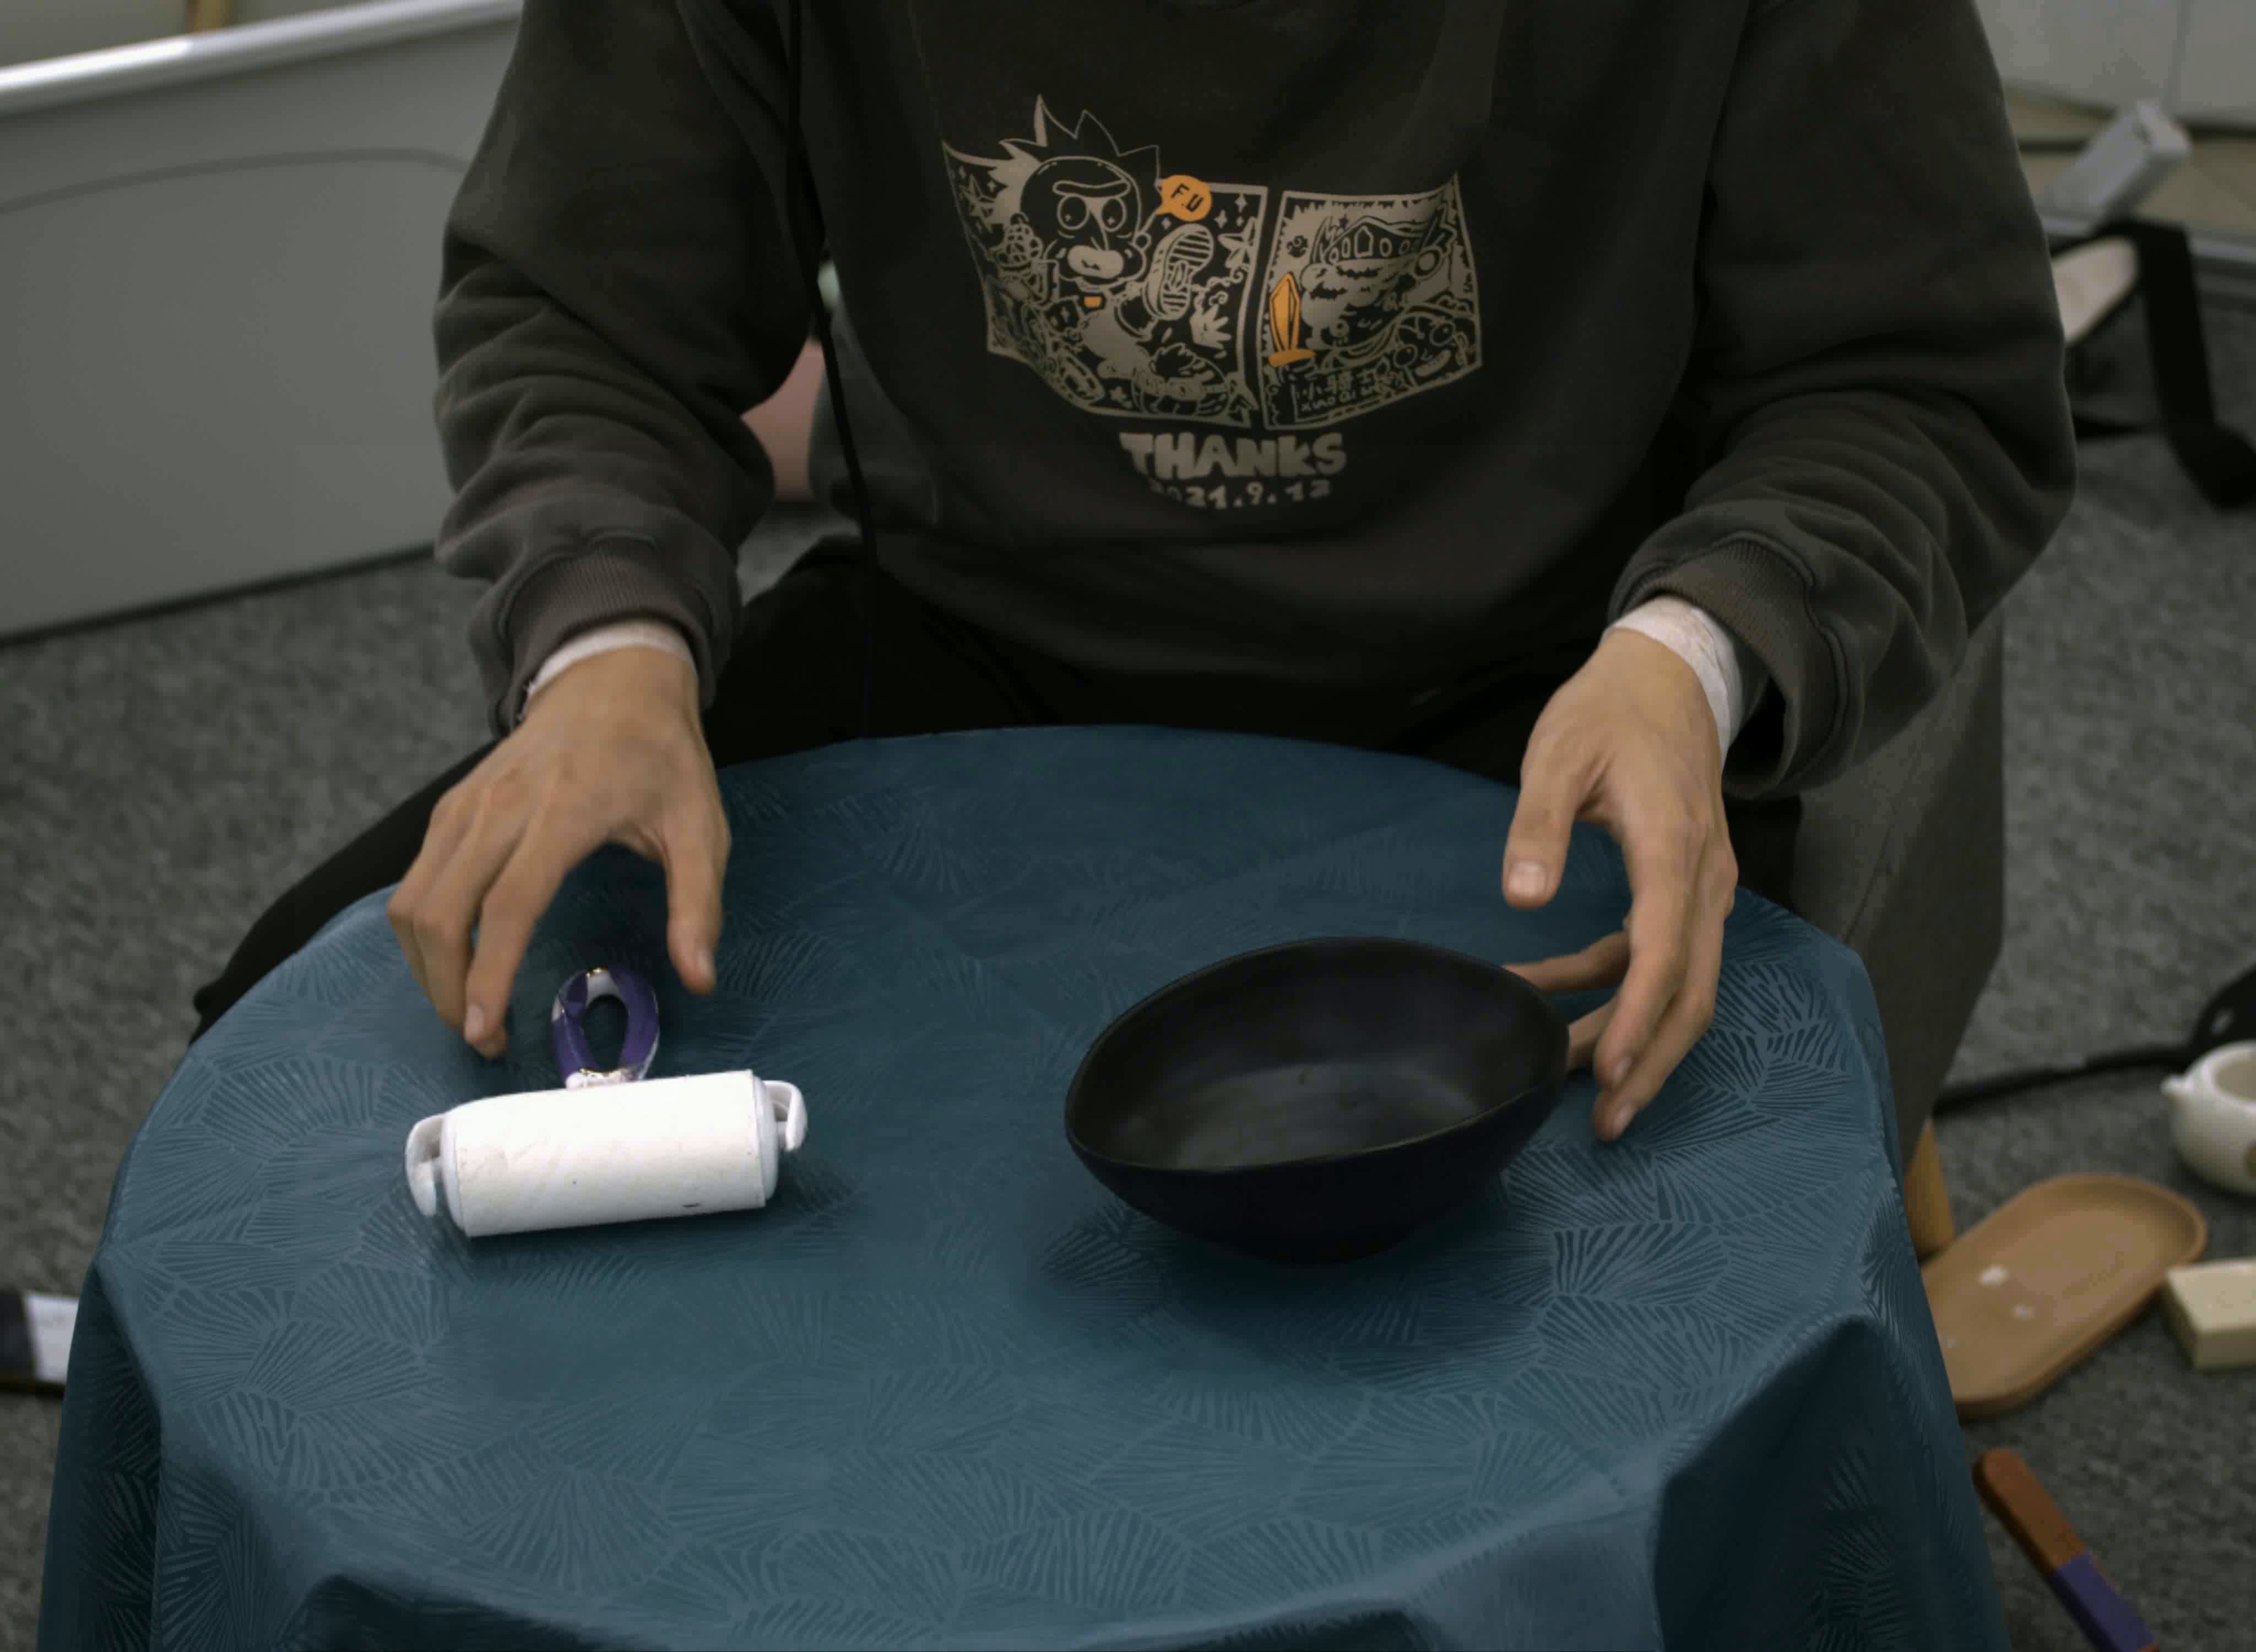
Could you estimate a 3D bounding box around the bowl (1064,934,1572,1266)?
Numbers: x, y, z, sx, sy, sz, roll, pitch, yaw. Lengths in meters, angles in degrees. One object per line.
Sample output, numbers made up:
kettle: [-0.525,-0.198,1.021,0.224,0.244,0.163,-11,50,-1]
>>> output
bowl: [0.064,0.099,1.830,0.171,0.066,0.138,-14,28,-17]

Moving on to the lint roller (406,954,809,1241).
lint roller: [-0.176,0.077,1.911,0.132,0.049,0.183,-5,30,-2]
